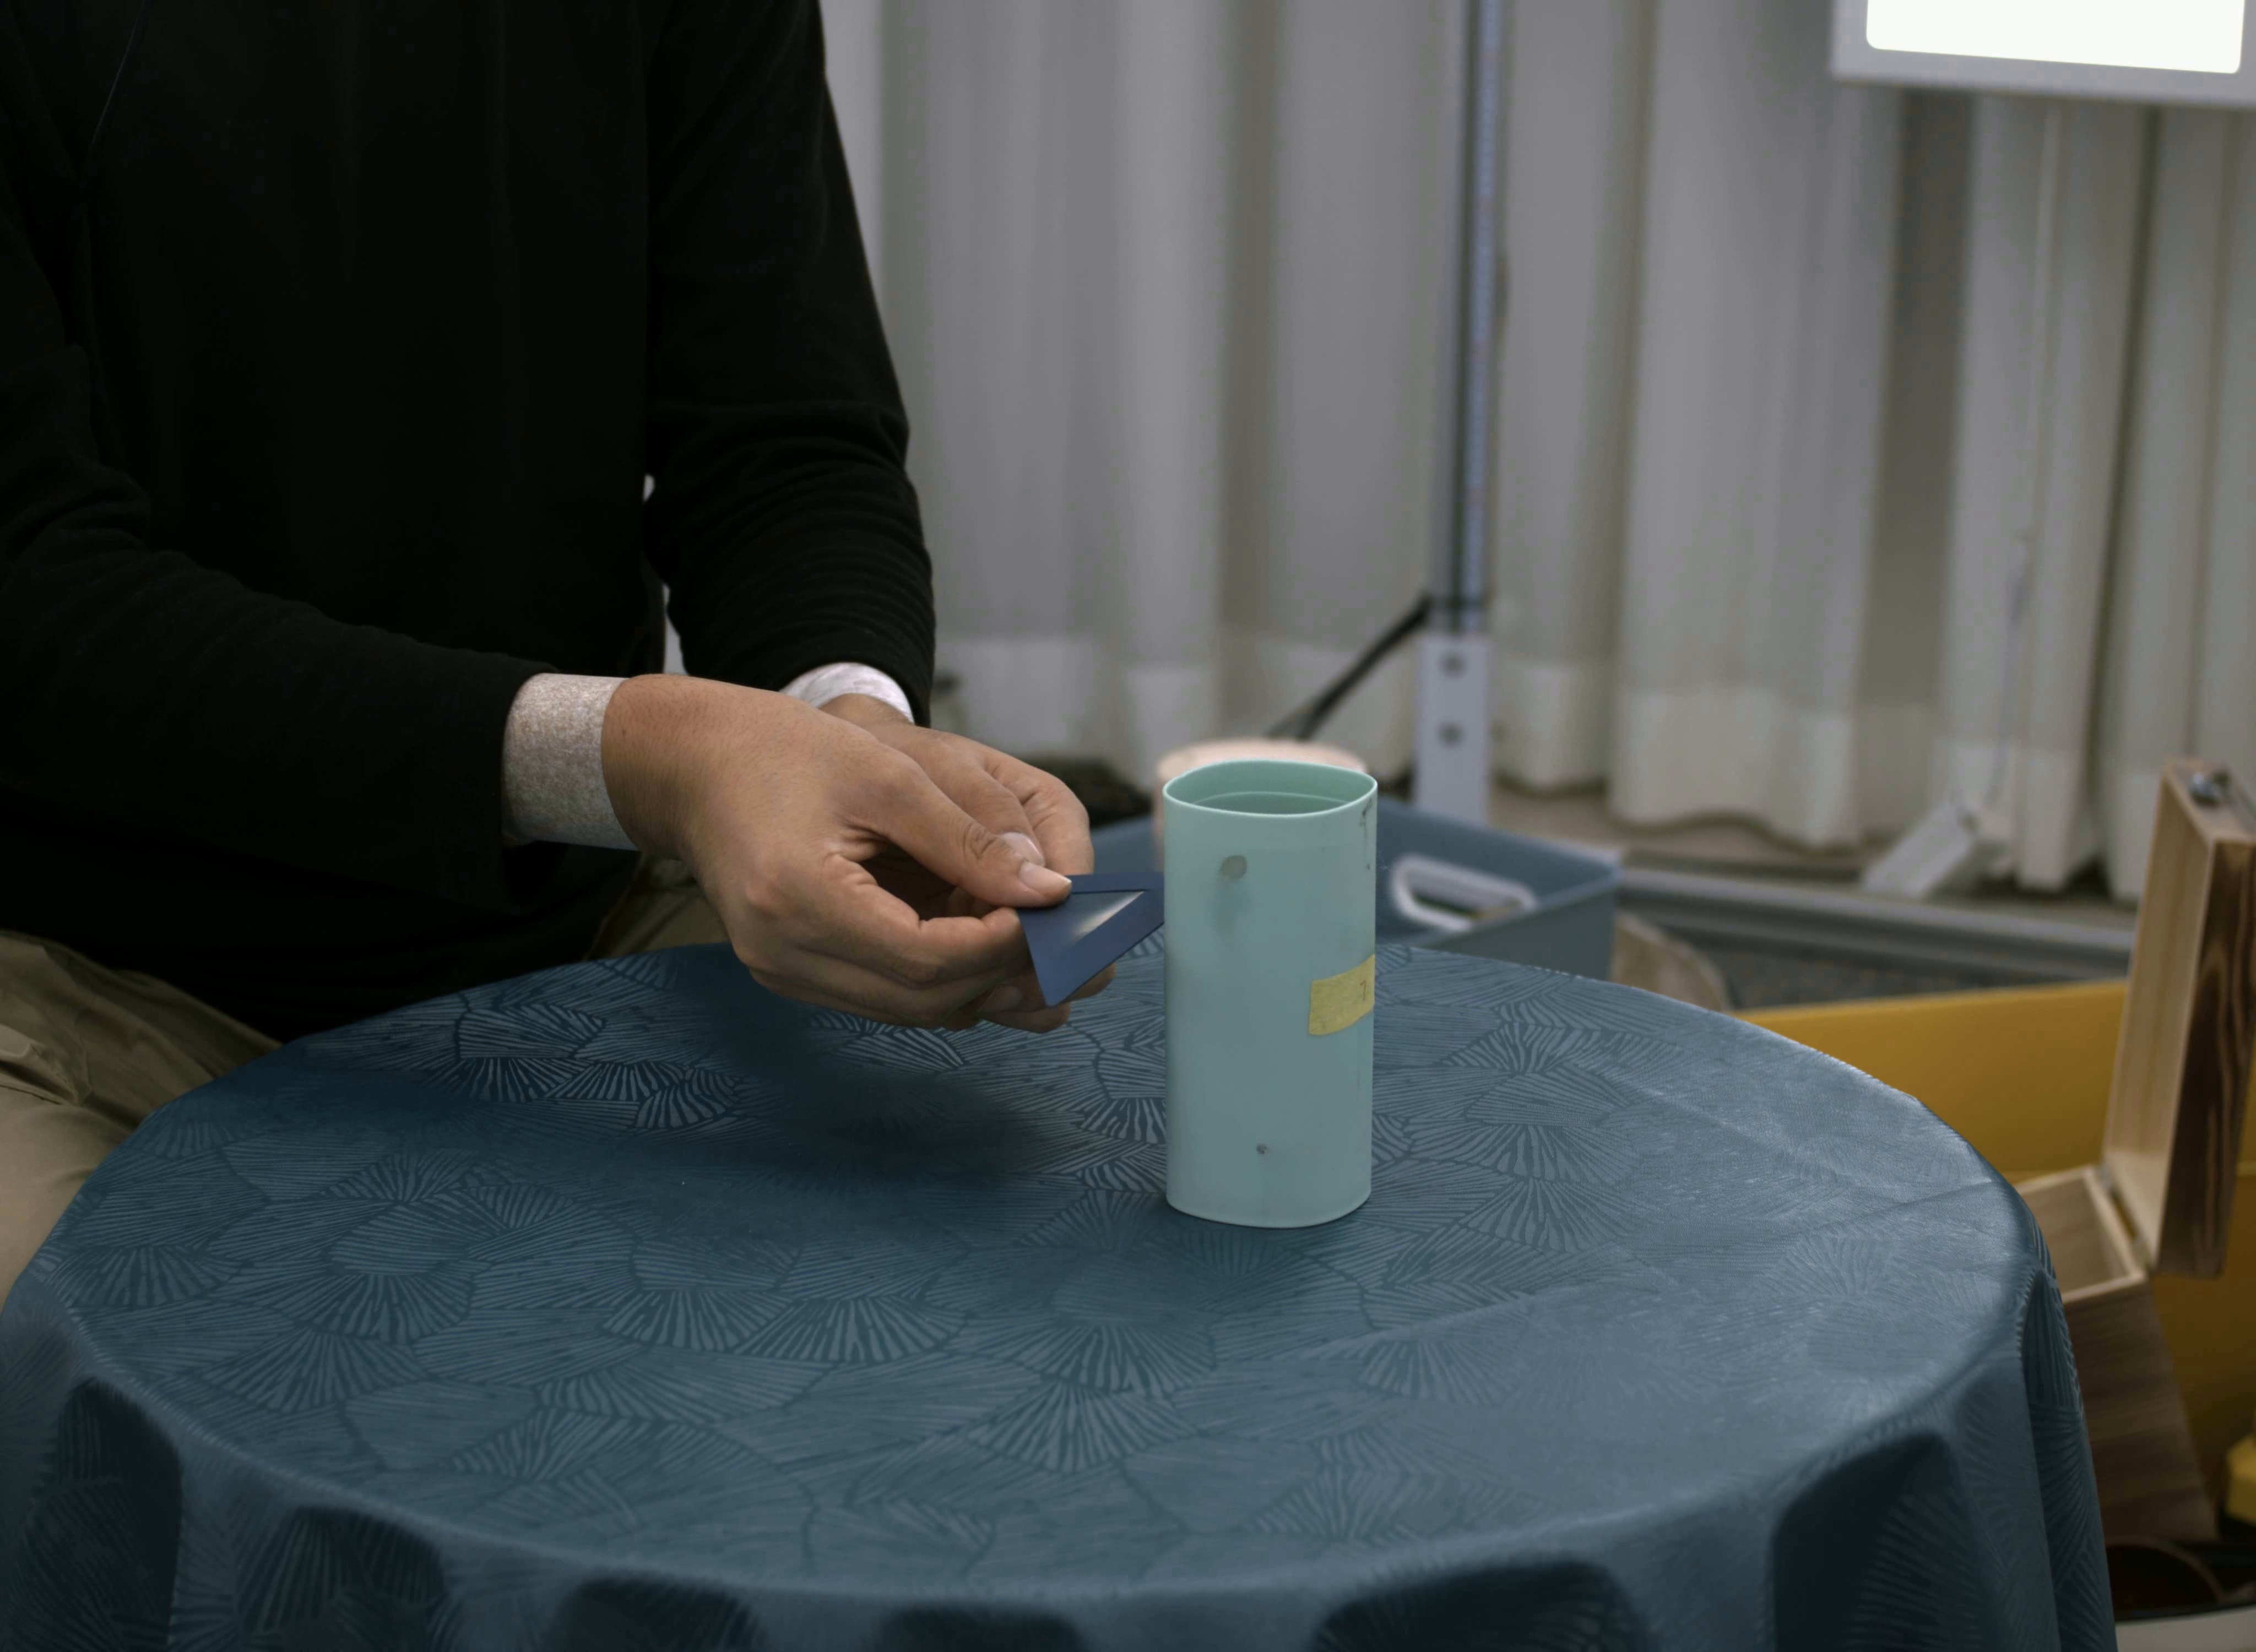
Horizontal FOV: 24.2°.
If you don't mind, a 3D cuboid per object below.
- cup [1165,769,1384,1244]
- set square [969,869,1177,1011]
[{"bbox_3d":[0.042,0.054,1.602,0.066,0.133,0.066,1,17,0],"label":"cup"},{"bbox_3d":[-0.031,0.030,1.592,0.060,0.006,0.132,10,21,26],"label":"set square"}]
